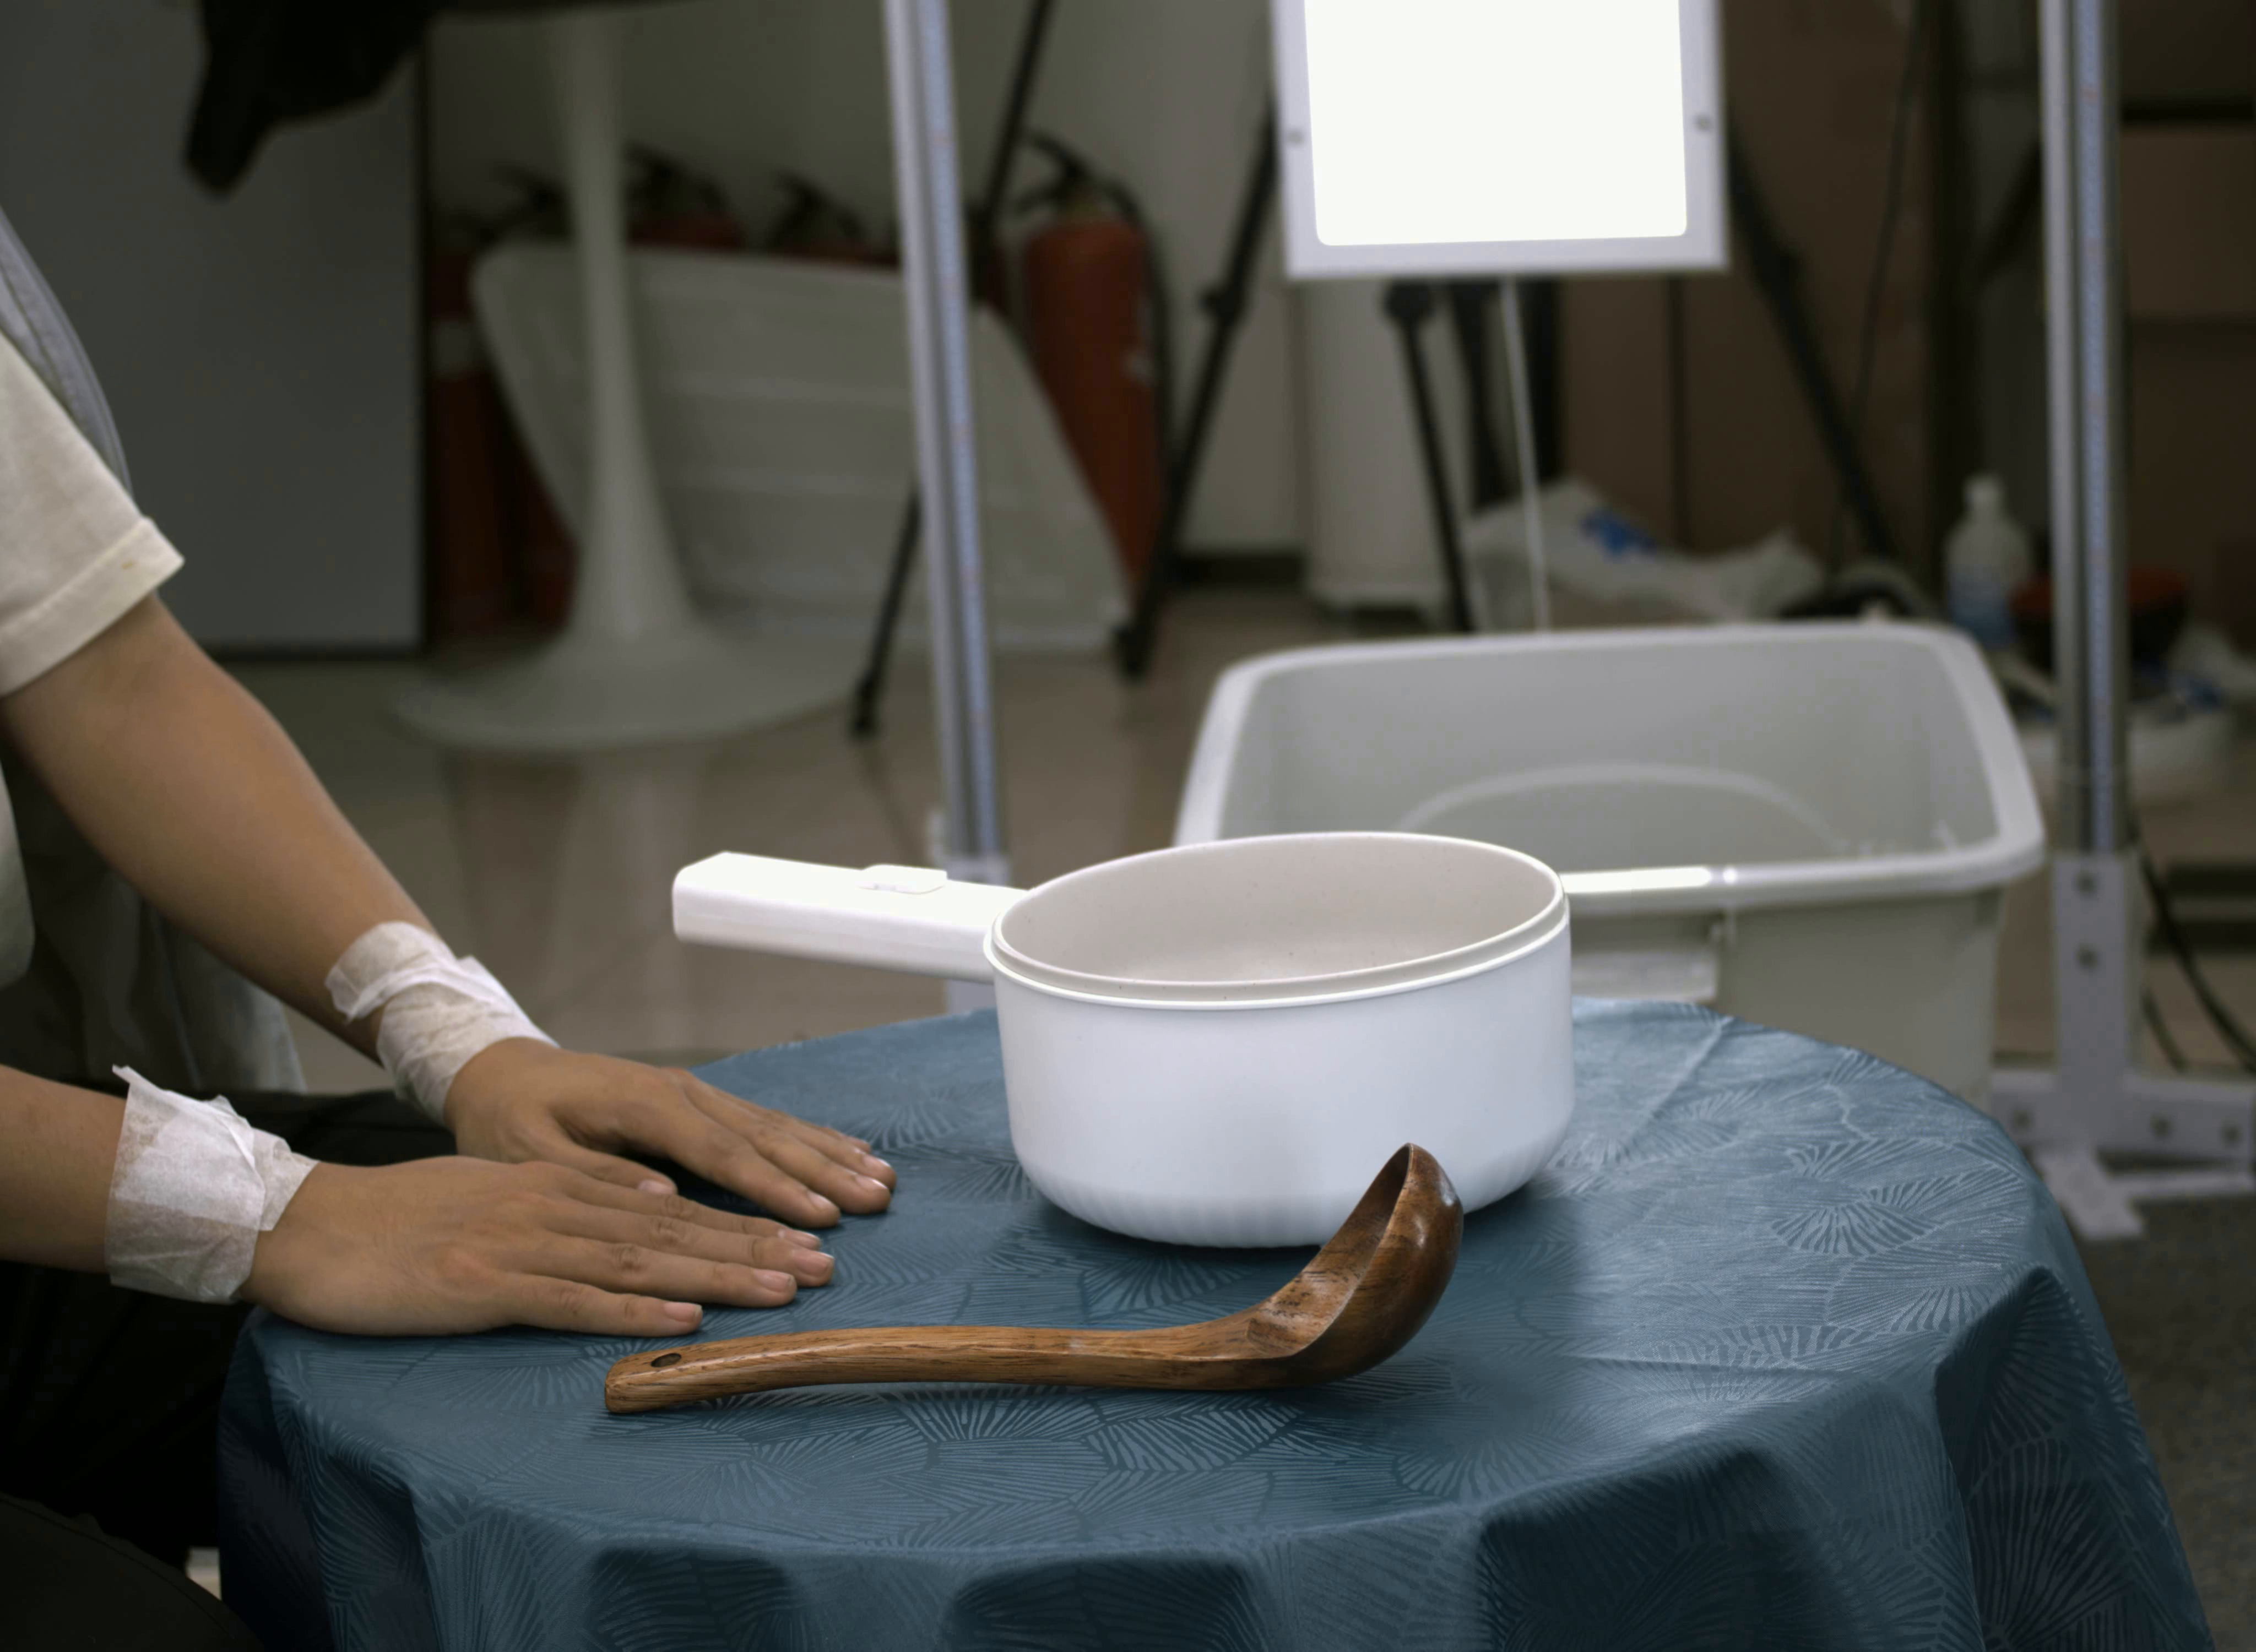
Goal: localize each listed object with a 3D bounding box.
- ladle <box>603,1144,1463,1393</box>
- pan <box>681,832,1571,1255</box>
[{"bbox_3d":[-0.032,0.137,1.695,0.276,0.077,0.081,-1,16,12],"label":"ladle"},{"bbox_3d":[-0.009,0.070,1.922,0.362,0.102,0.196,5,17,37],"label":"pan"}]
